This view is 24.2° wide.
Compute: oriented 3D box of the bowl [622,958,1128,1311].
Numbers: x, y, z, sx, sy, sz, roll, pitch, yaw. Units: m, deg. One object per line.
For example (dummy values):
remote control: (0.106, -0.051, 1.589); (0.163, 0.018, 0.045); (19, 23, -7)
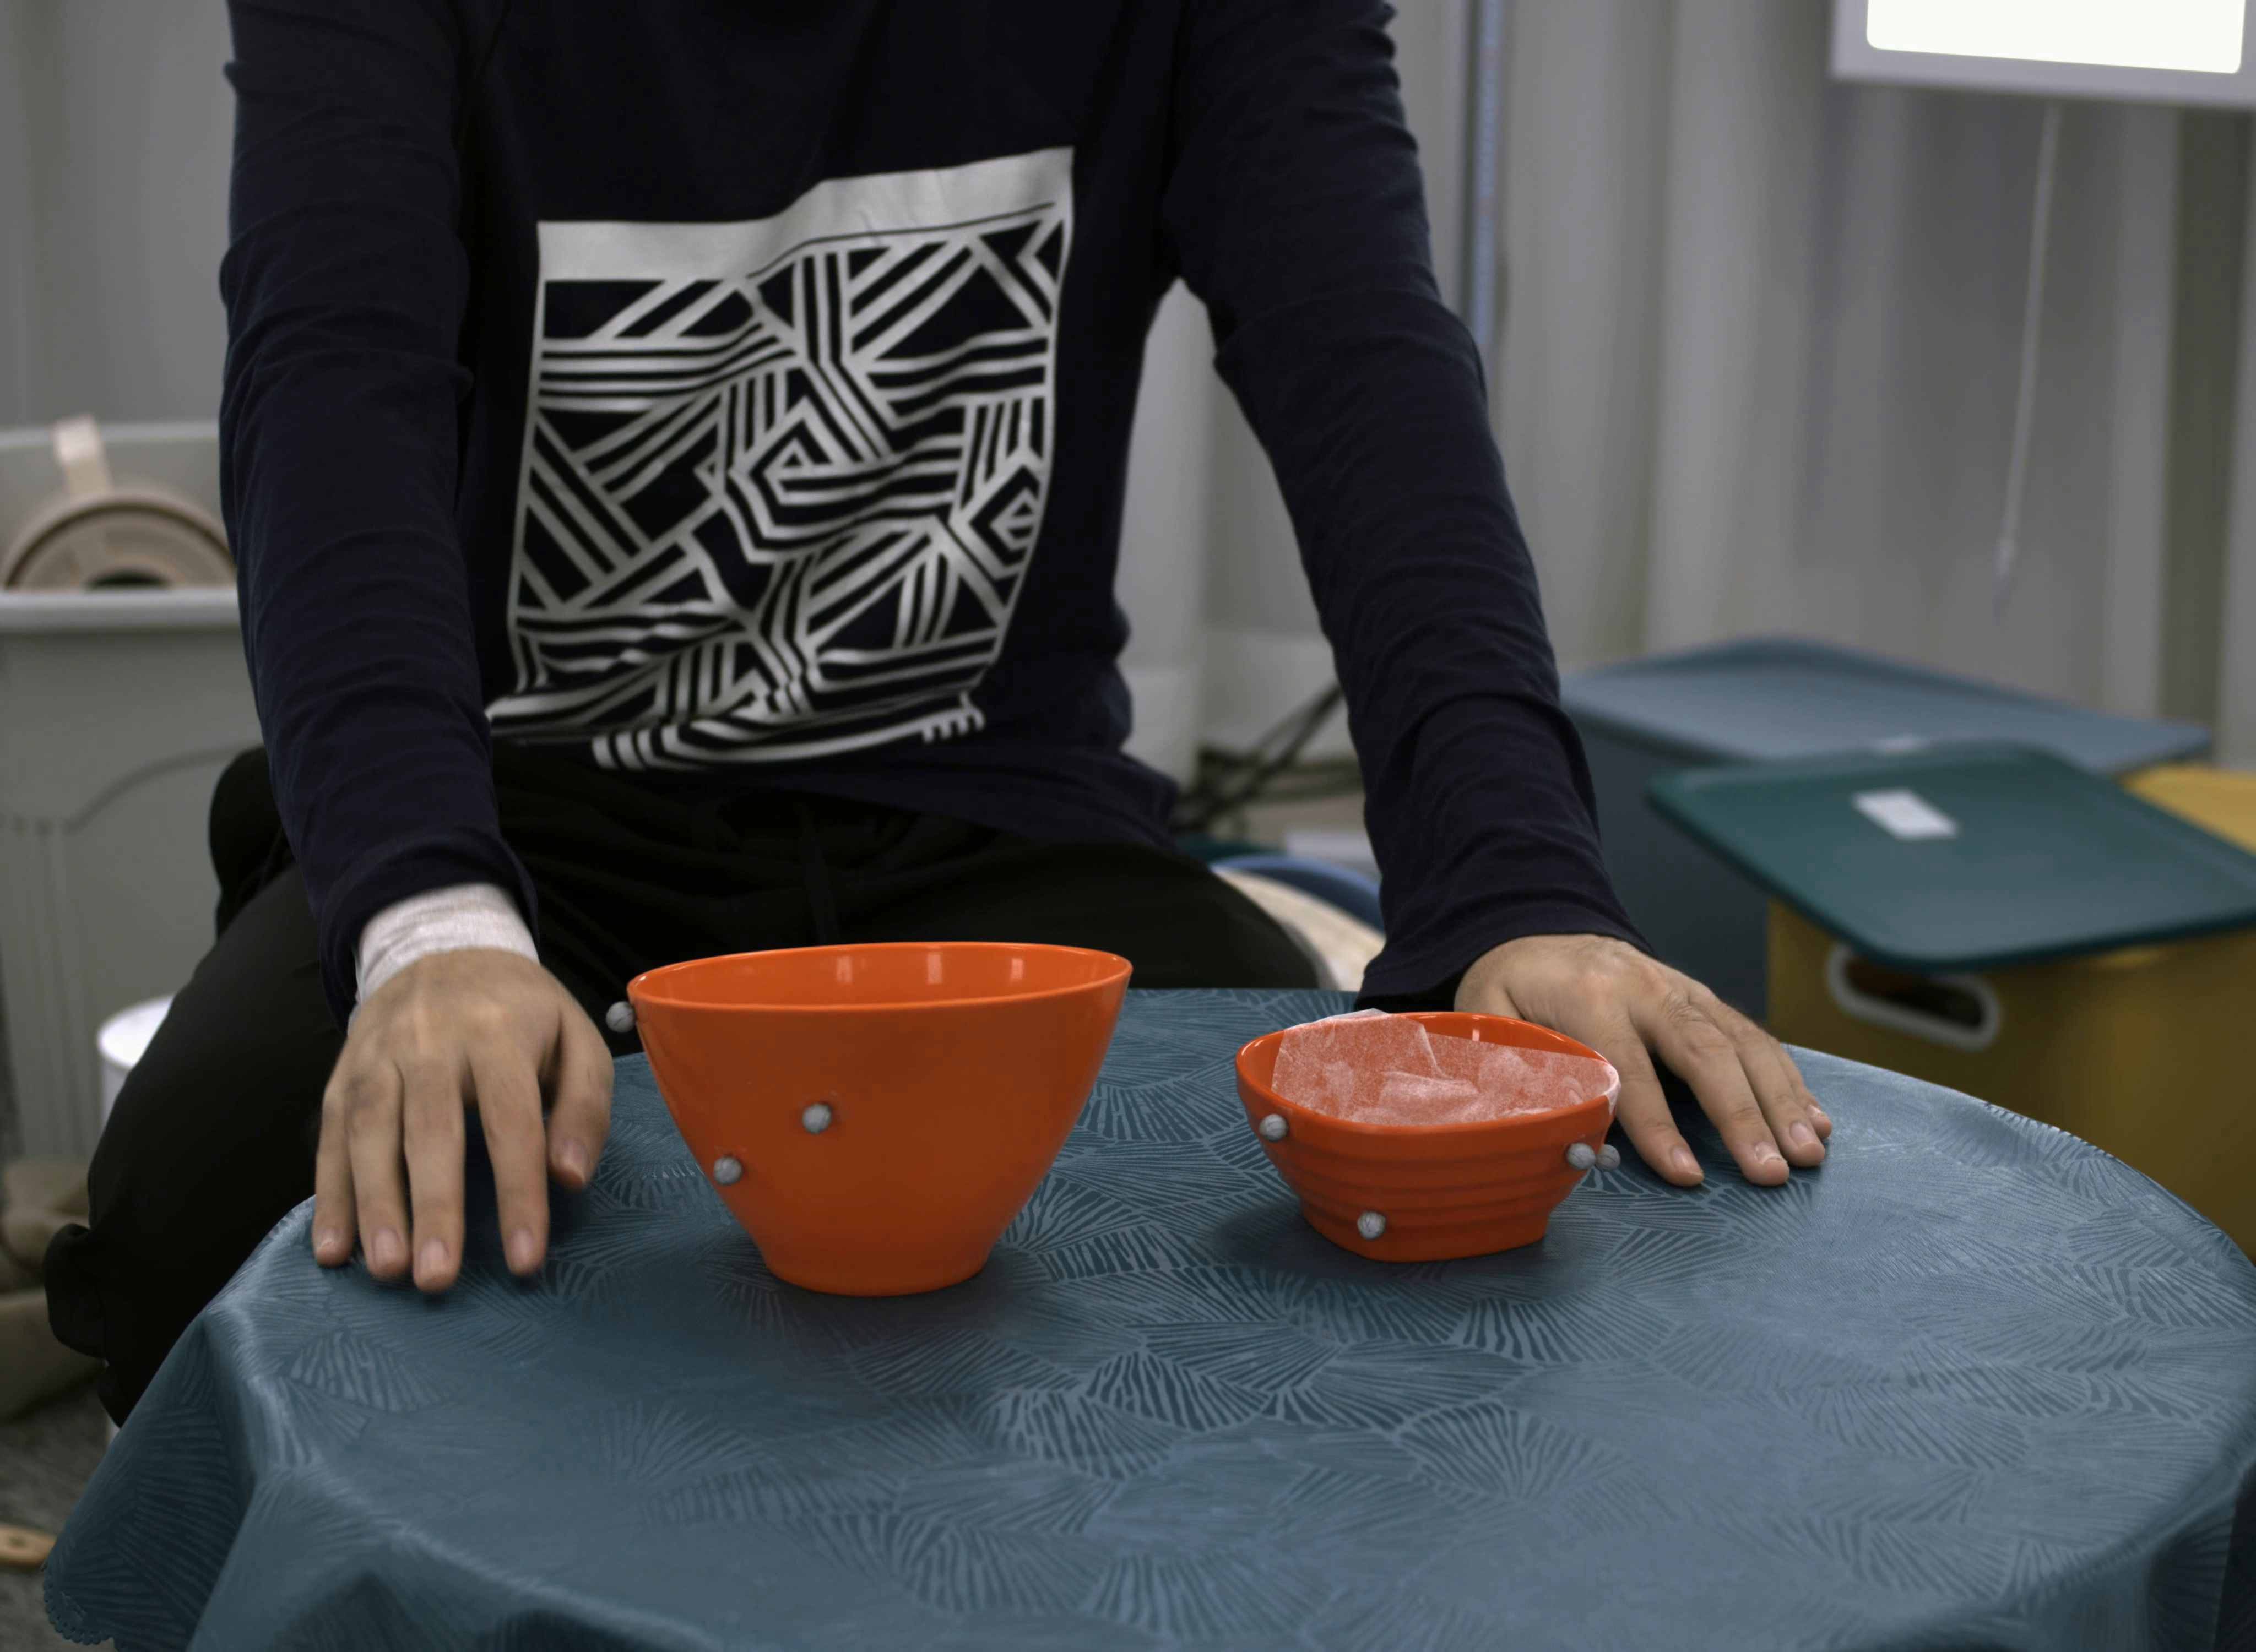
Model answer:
bowl: (-0.074, 0.086, 1.538); (0.147, 0.105, 0.147); (1, 13, 0)

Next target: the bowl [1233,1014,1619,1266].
bowl: (0.090, 0.097, 1.593); (0.118, 0.052, 0.118); (-1, 15, 1)
